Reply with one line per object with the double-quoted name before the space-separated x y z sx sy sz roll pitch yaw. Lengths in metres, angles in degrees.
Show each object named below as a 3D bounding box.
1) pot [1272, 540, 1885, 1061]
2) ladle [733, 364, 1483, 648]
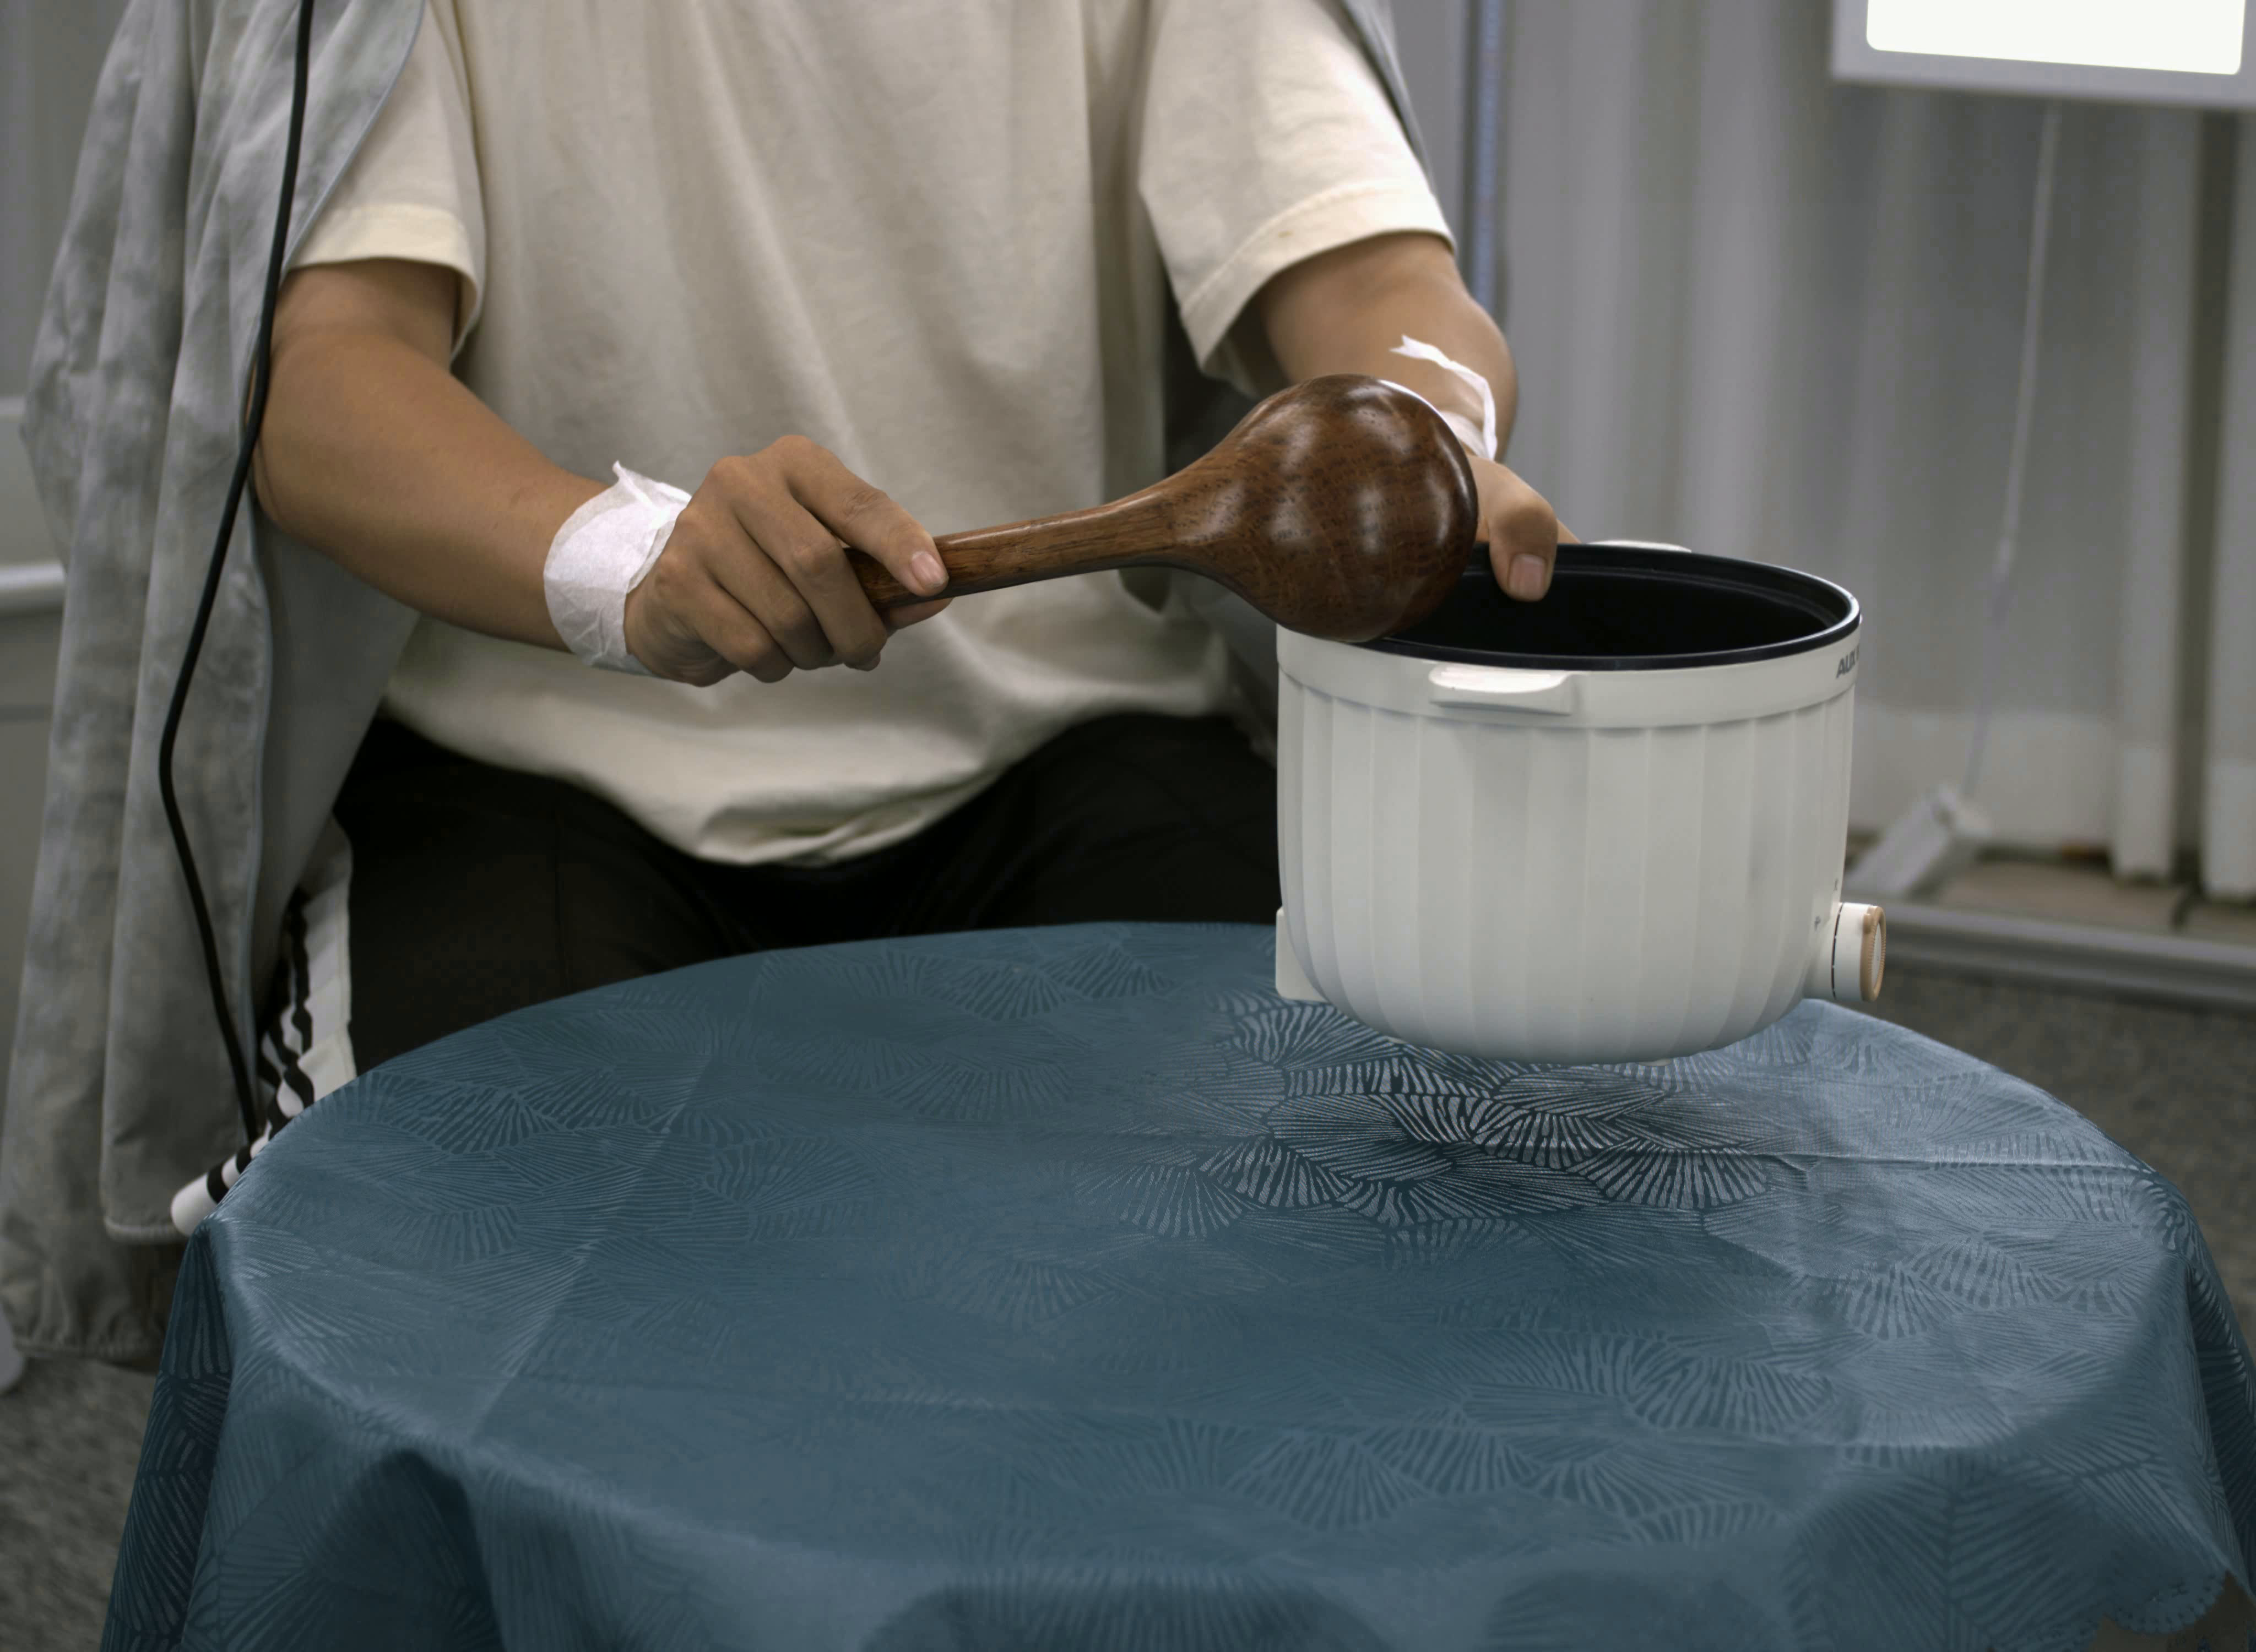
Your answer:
"pot" 0.141 -0.007 1.651 0.189 0.144 0.240 1 15 16
"ladle" -0.008 -0.086 1.640 0.077 0.082 0.271 9 -13 -43
